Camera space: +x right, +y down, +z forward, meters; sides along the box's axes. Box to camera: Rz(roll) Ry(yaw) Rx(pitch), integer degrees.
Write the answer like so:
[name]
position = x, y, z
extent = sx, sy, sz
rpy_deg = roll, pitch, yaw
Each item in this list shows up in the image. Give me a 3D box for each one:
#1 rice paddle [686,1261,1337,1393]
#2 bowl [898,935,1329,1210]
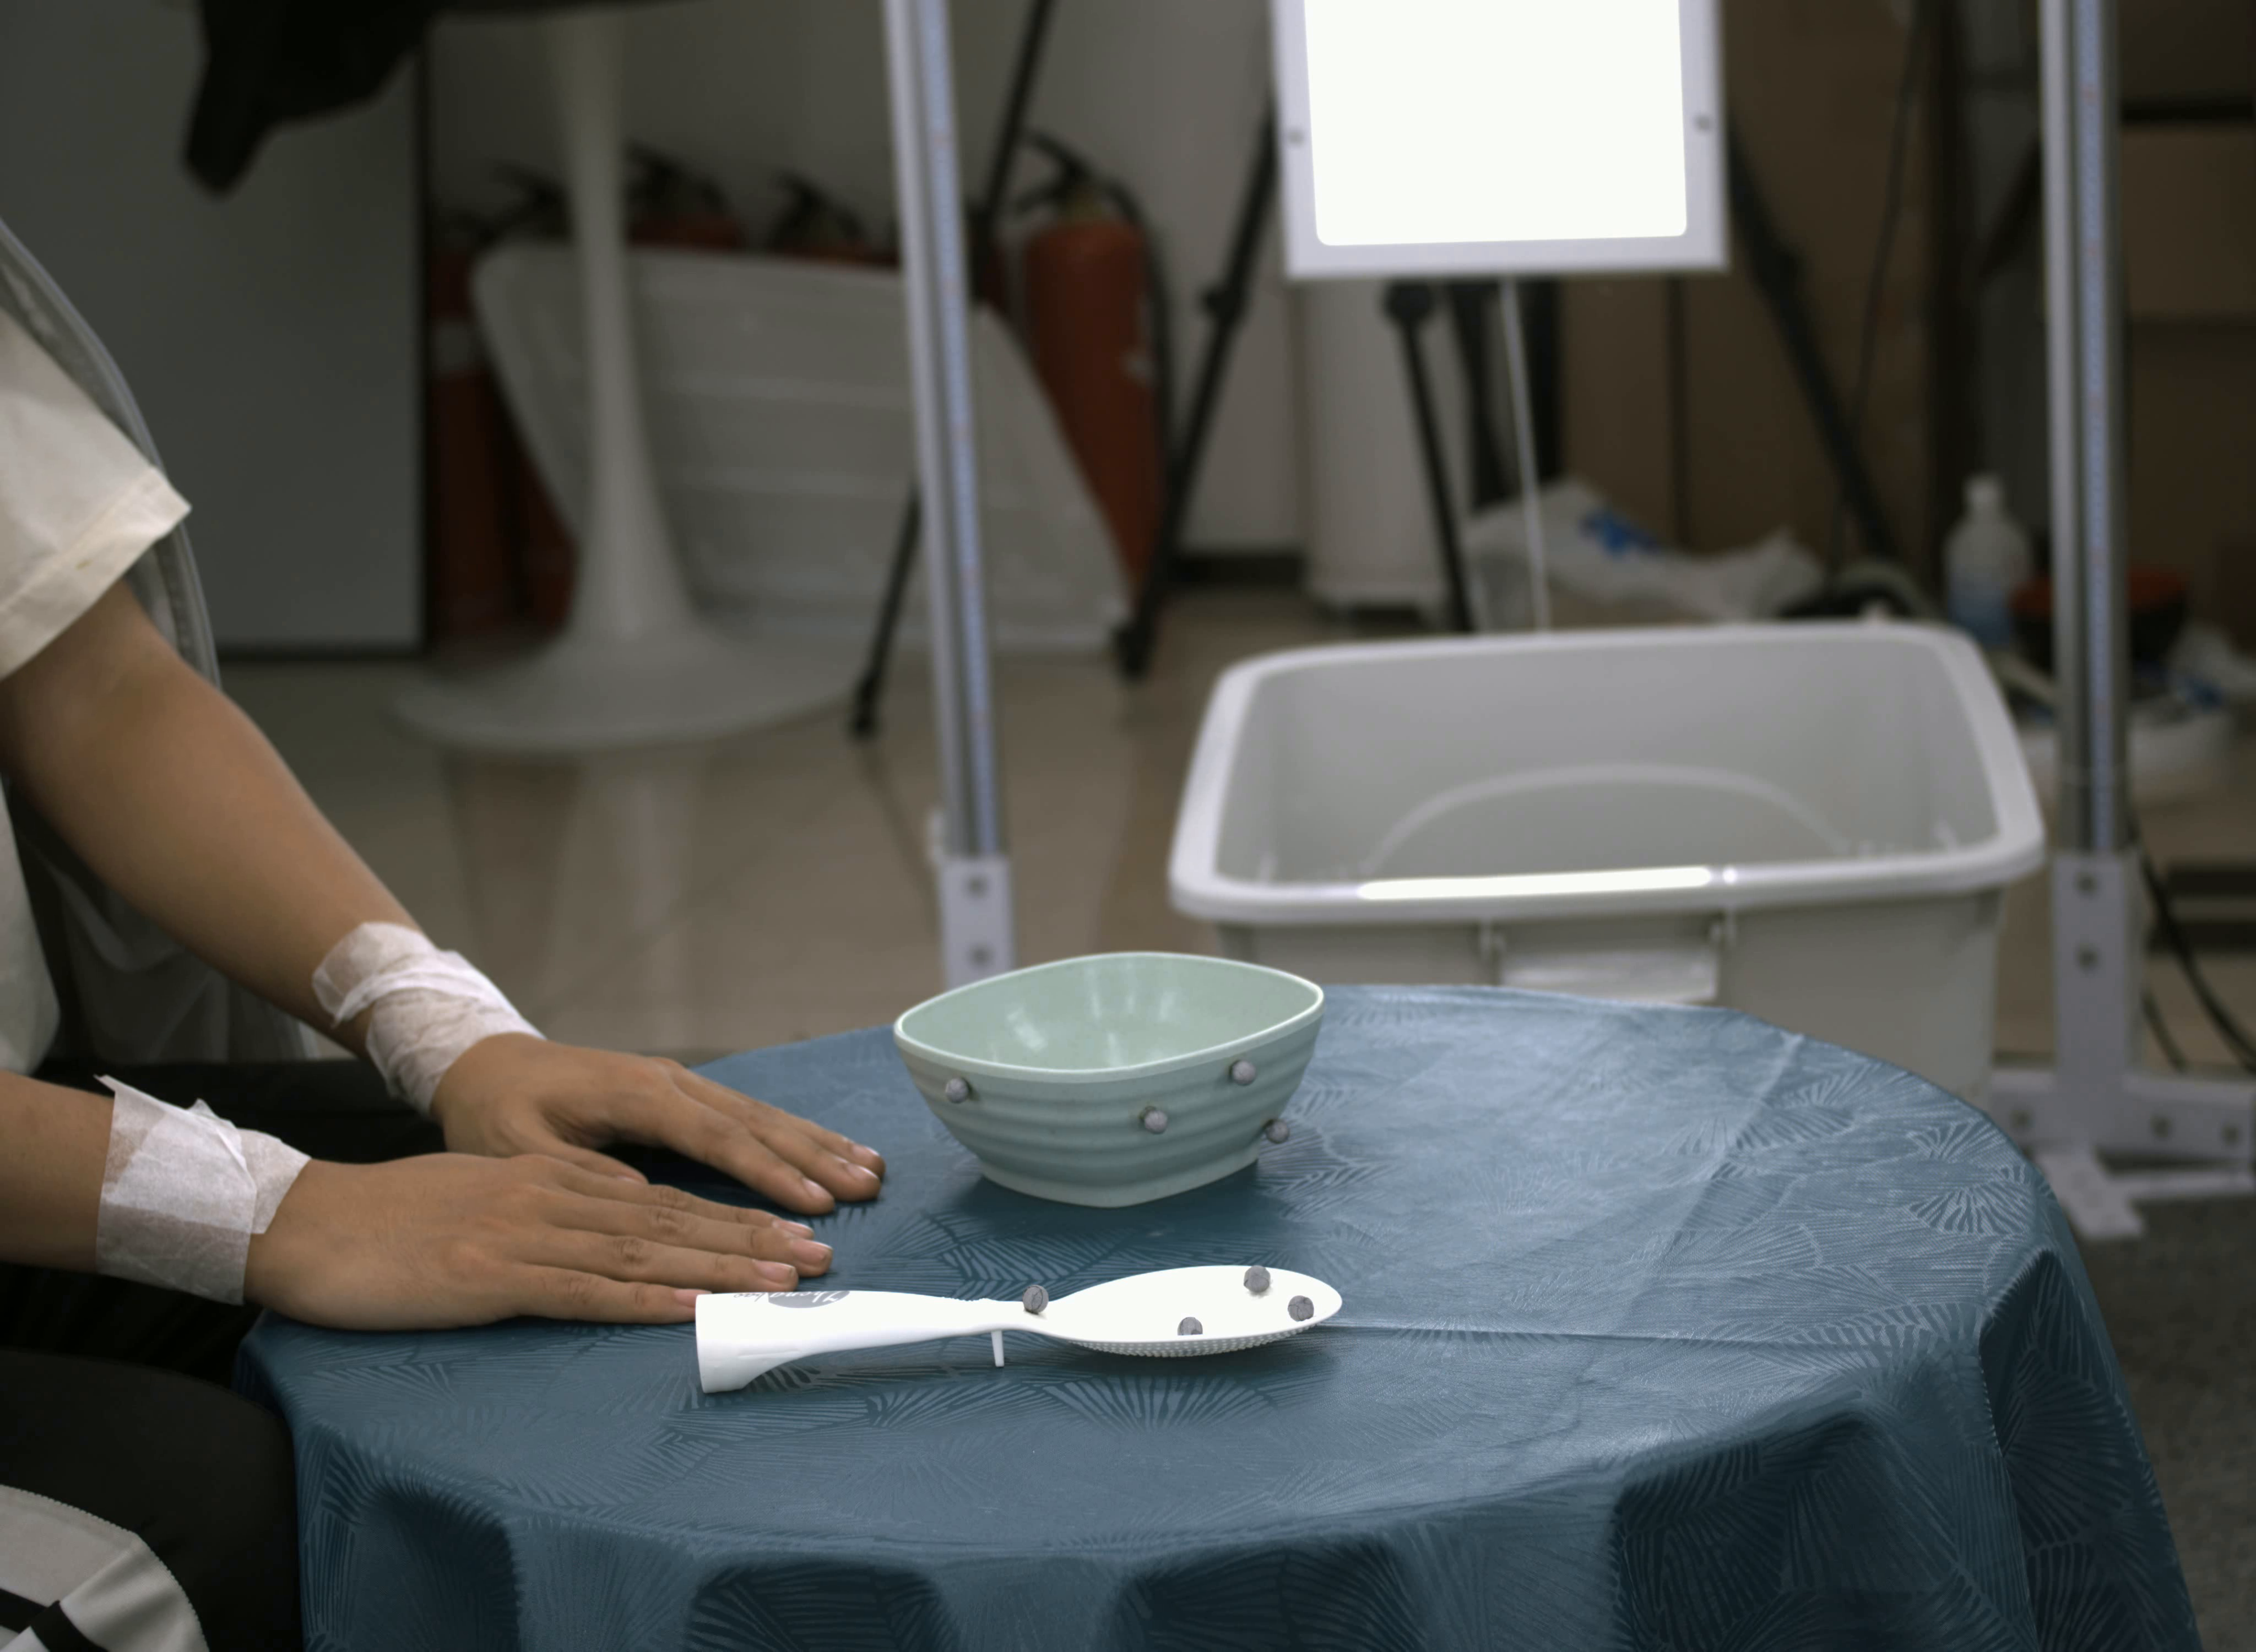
[rice paddle]
position = -0.036, 0.154, 1.734
extent = 0.205, 0.029, 0.068
rpy_deg = -5, 15, 2
[bowl]
position = -0.003, 0.089, 1.922
extent = 0.151, 0.059, 0.151
rpy_deg = -5, 17, 0
